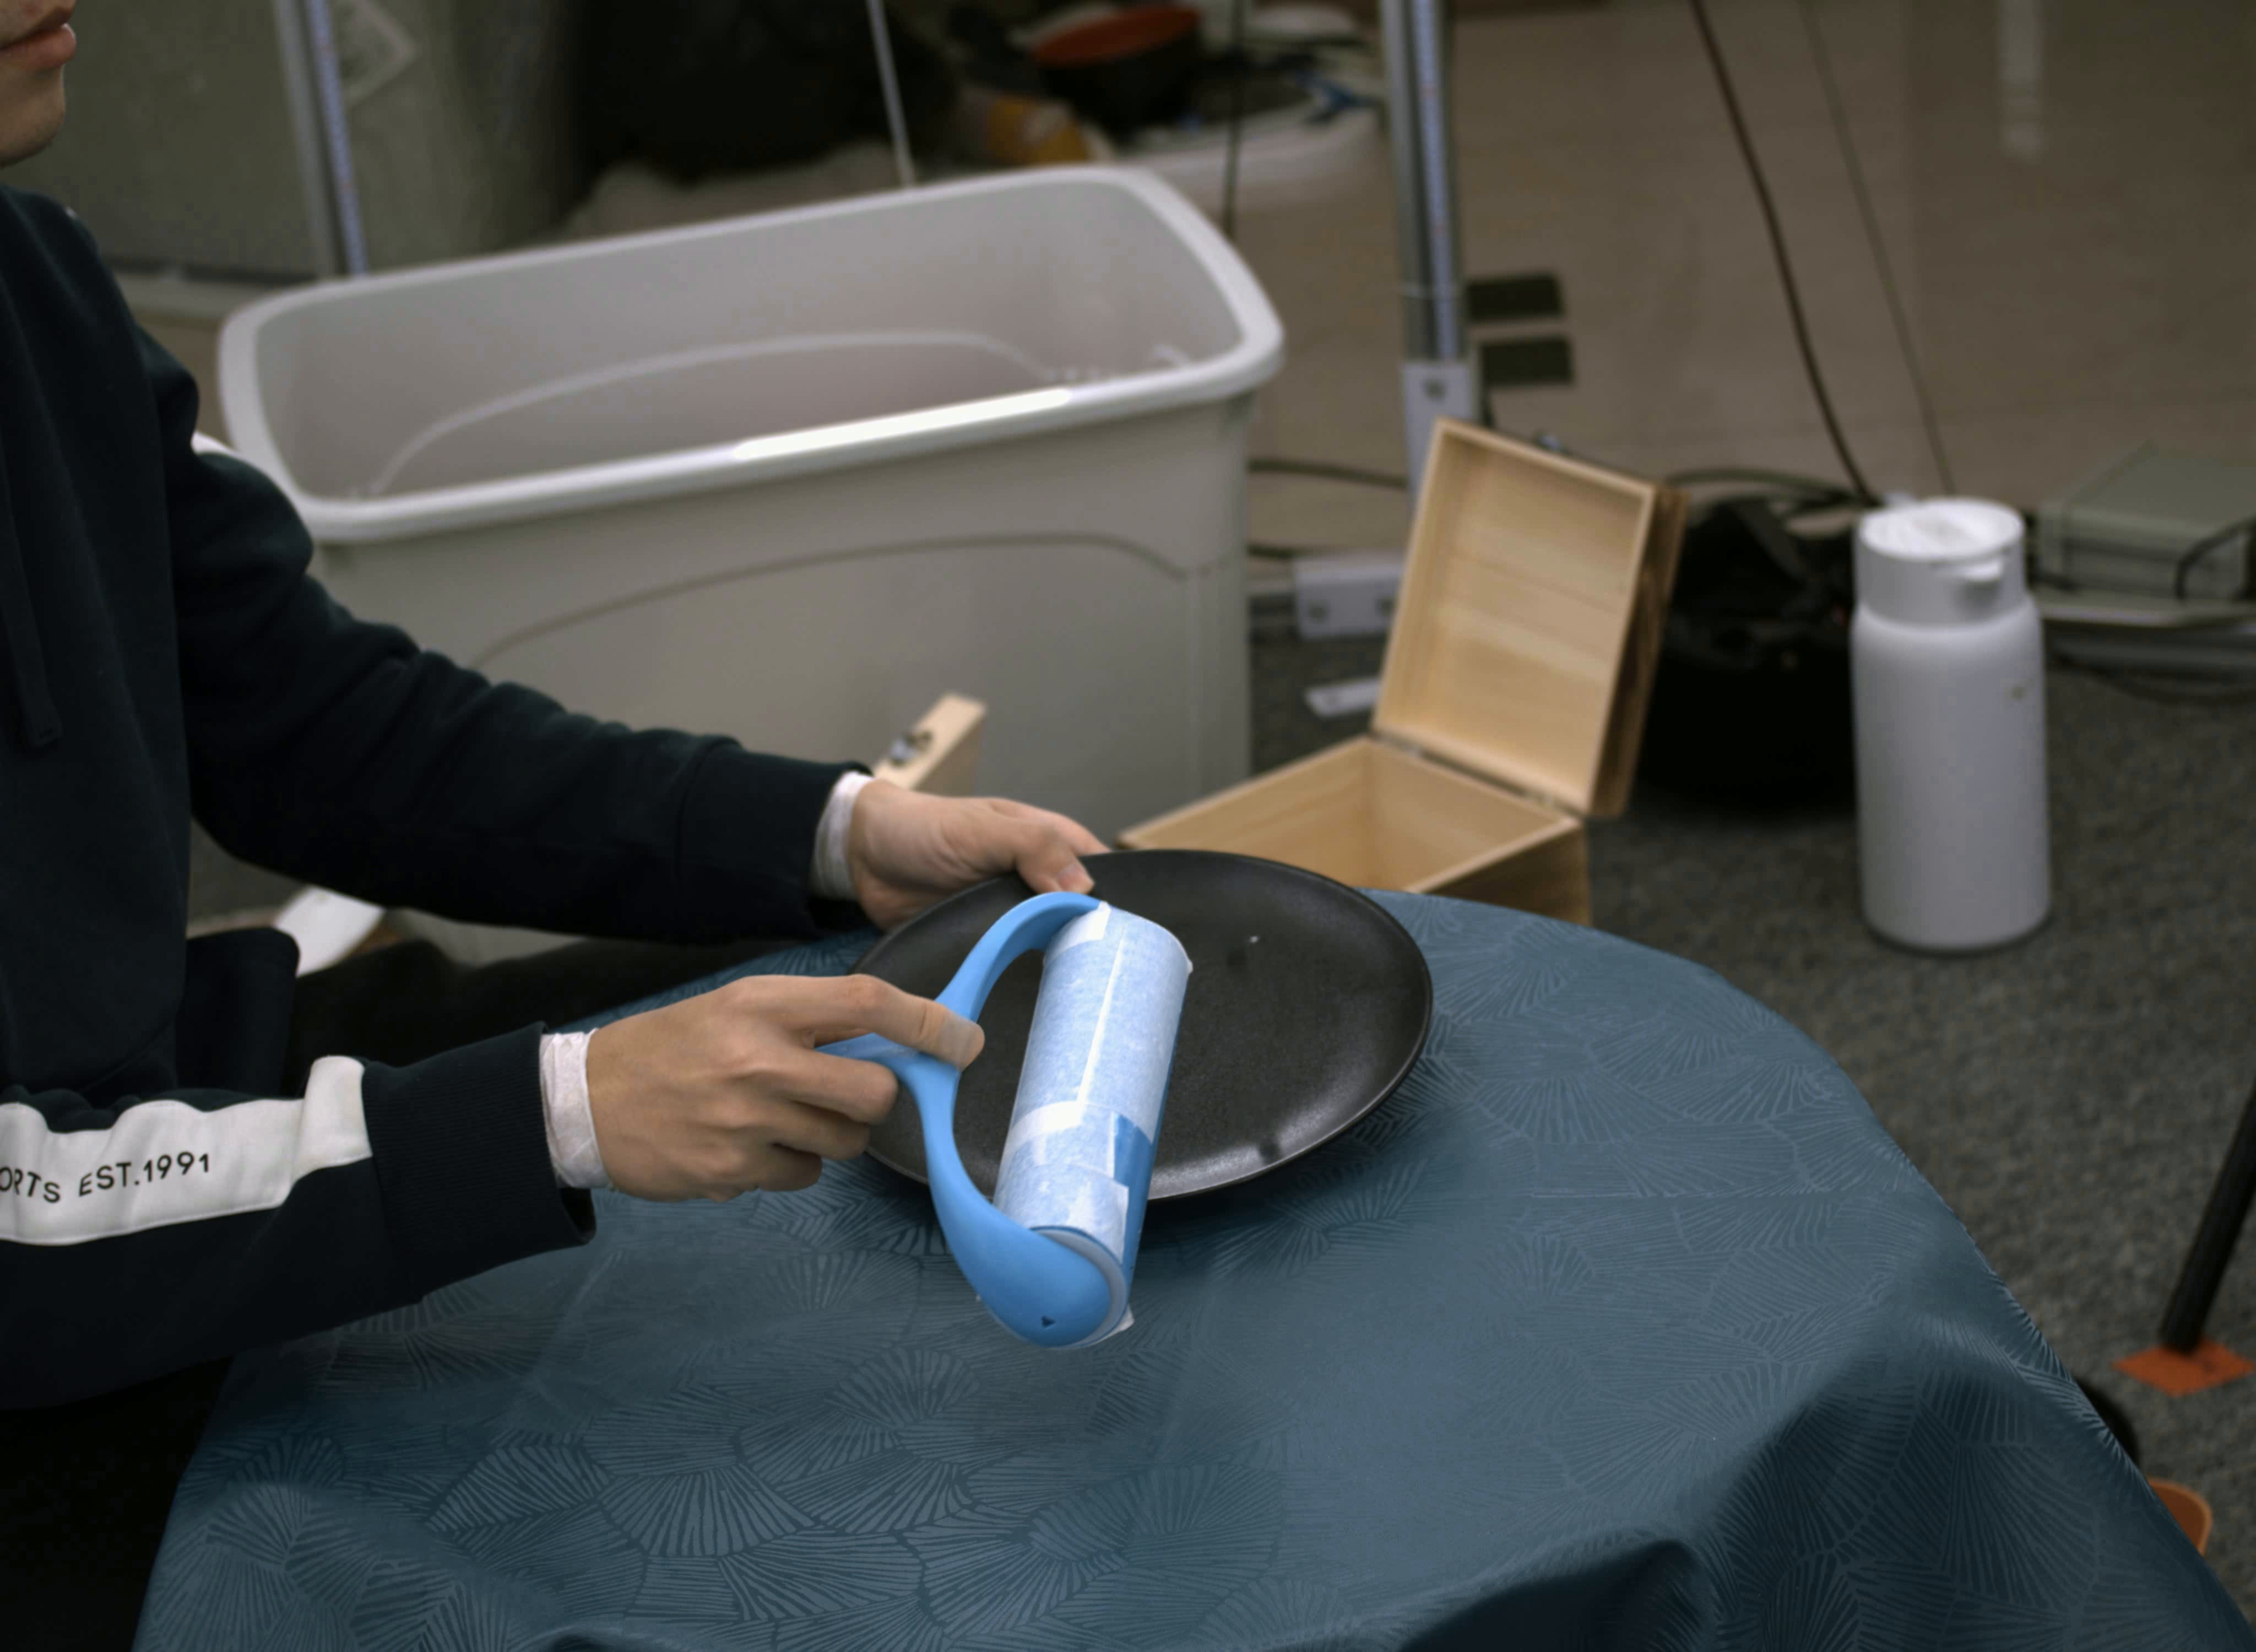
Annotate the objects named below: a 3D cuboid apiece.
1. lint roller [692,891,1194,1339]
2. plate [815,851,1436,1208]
[{"bbox_3d":[-0.070,0.103,2.031,0.180,0.069,0.225,0,35,4],"label":"lint roller"},{"bbox_3d":[0.000,0.084,2.207,0.244,0.024,0.240,-6,33,4],"label":"plate"}]
